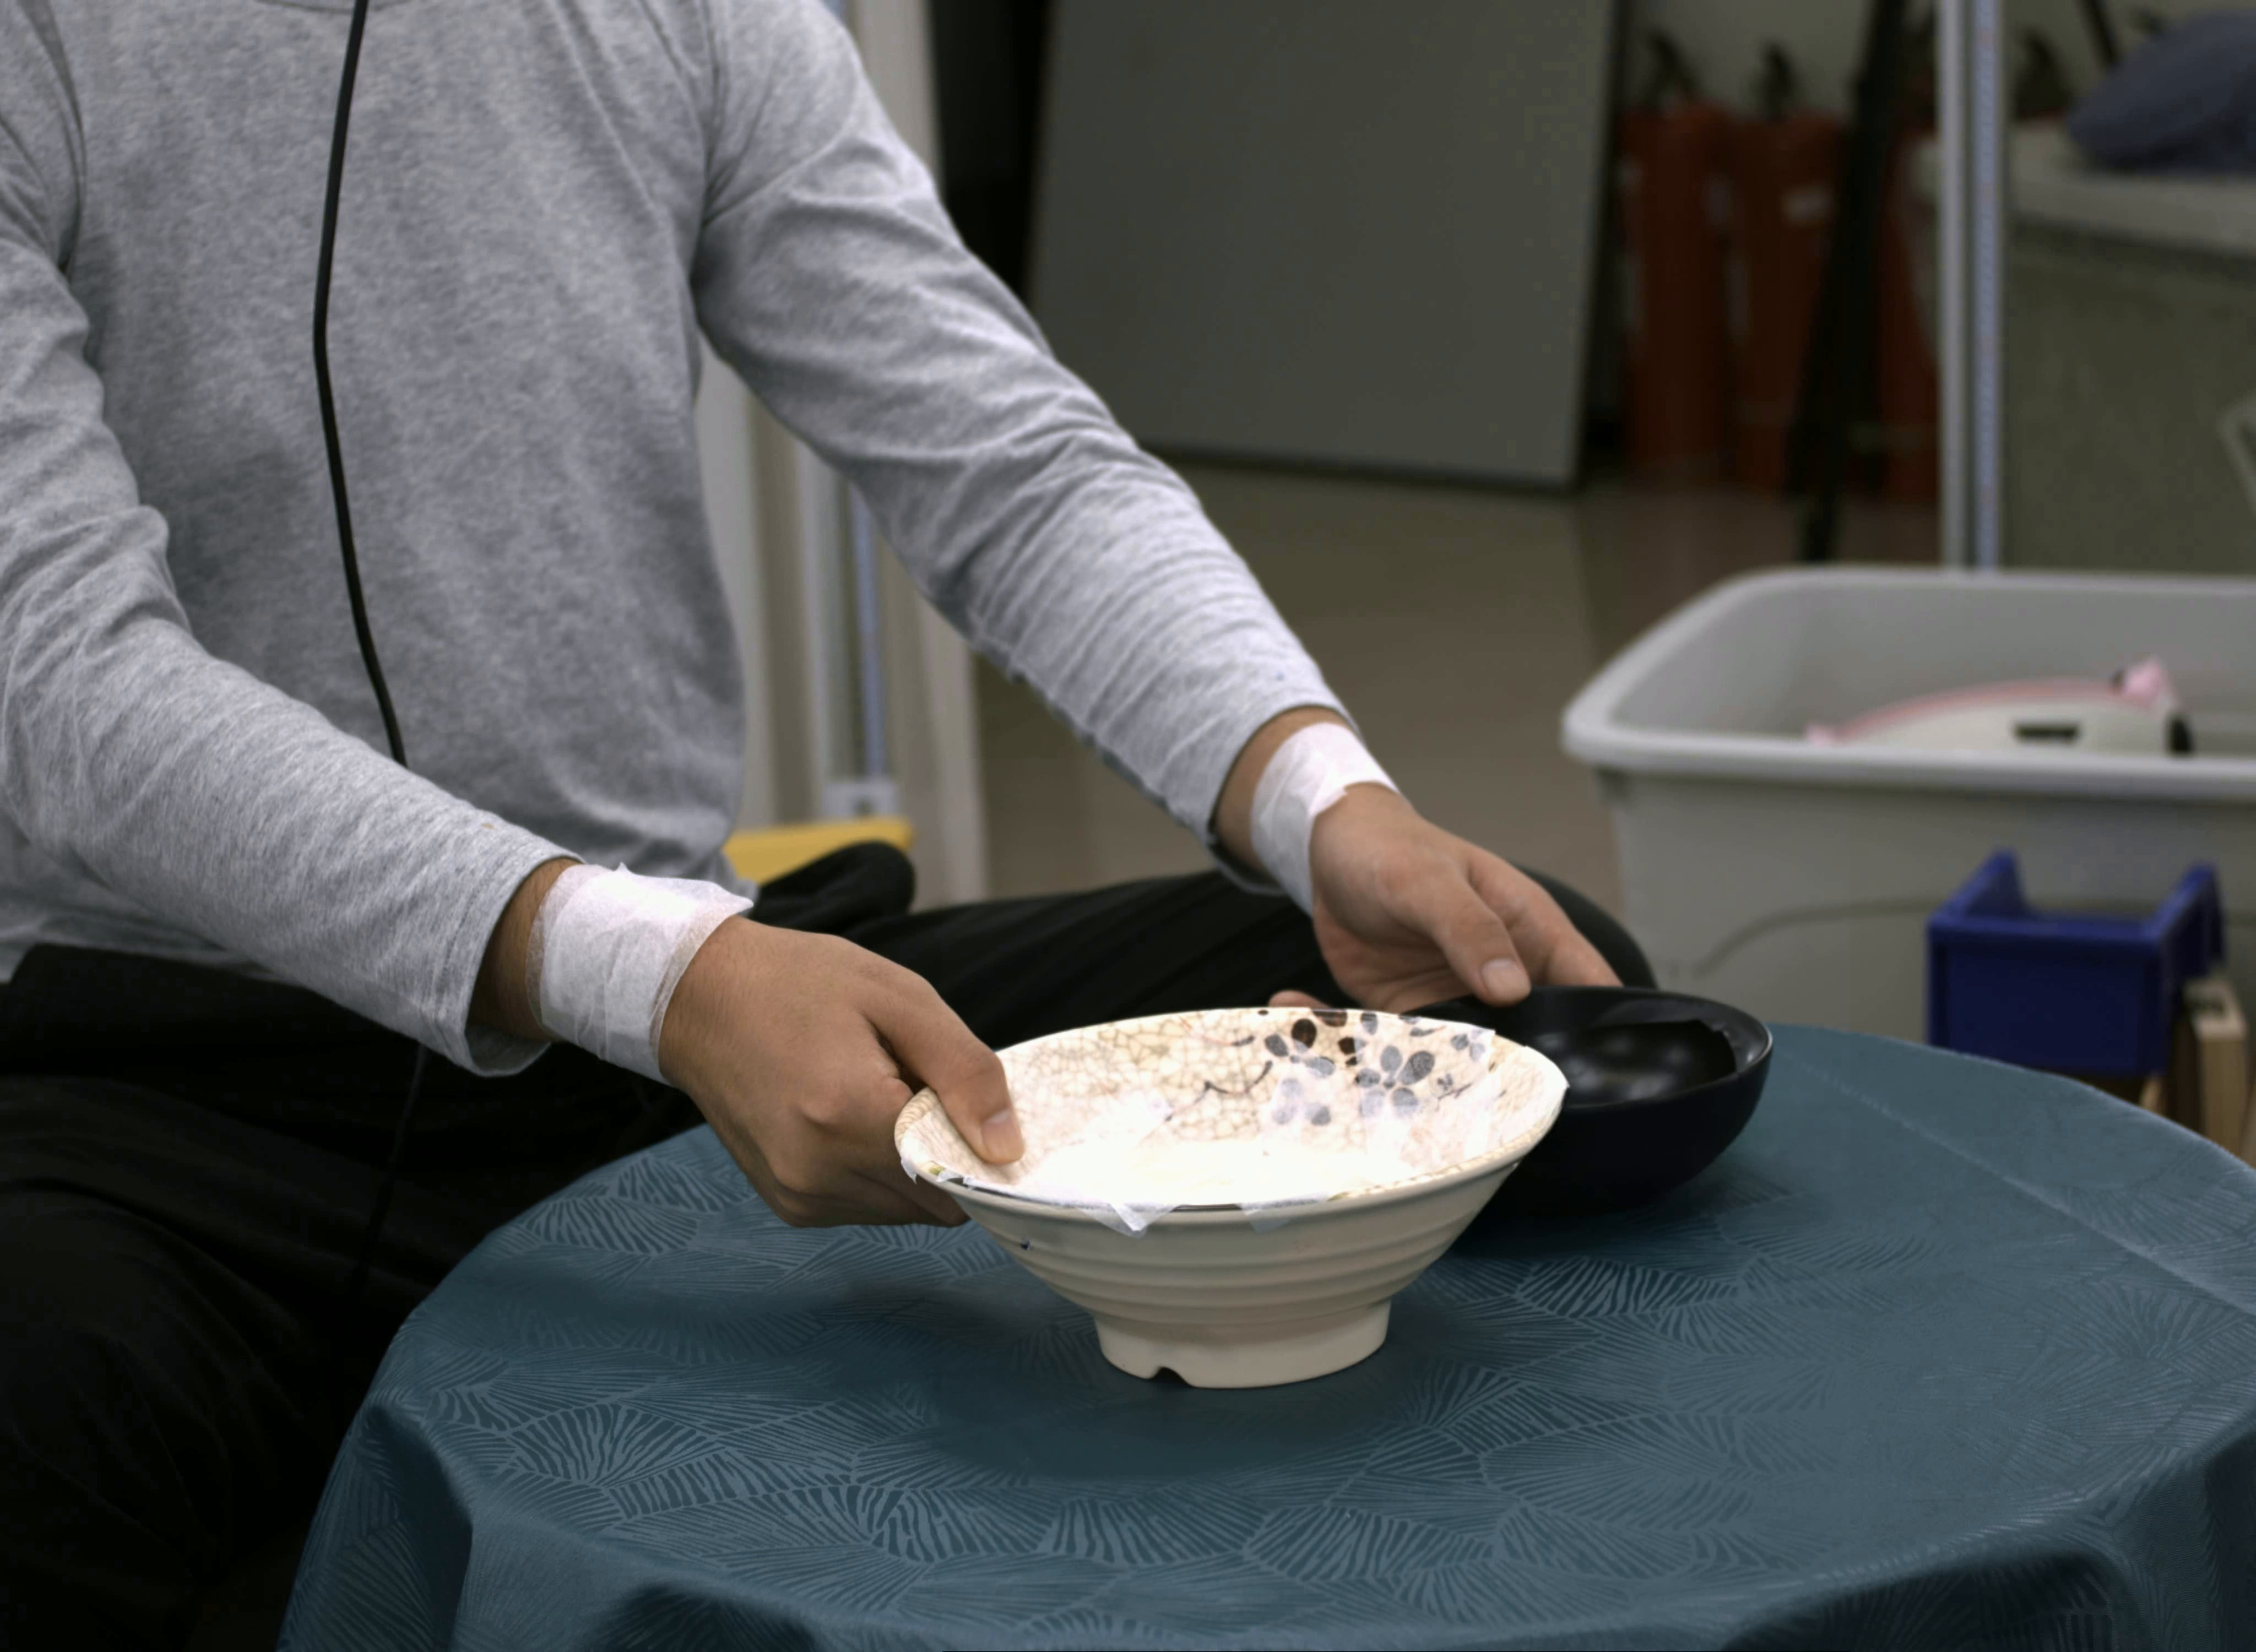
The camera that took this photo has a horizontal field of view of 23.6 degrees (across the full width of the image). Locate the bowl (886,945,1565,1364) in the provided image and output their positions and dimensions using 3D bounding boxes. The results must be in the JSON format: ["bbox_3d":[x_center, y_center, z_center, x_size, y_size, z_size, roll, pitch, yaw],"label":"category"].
[{"bbox_3d":[0.027,0.106,1.603,0.201,0.079,0.204,2,19,-2],"label":"bowl"}]

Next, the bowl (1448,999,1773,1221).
[{"bbox_3d":[0.141,0.095,1.741,0.138,0.050,0.140,-4,10,0],"label":"bowl"}]
